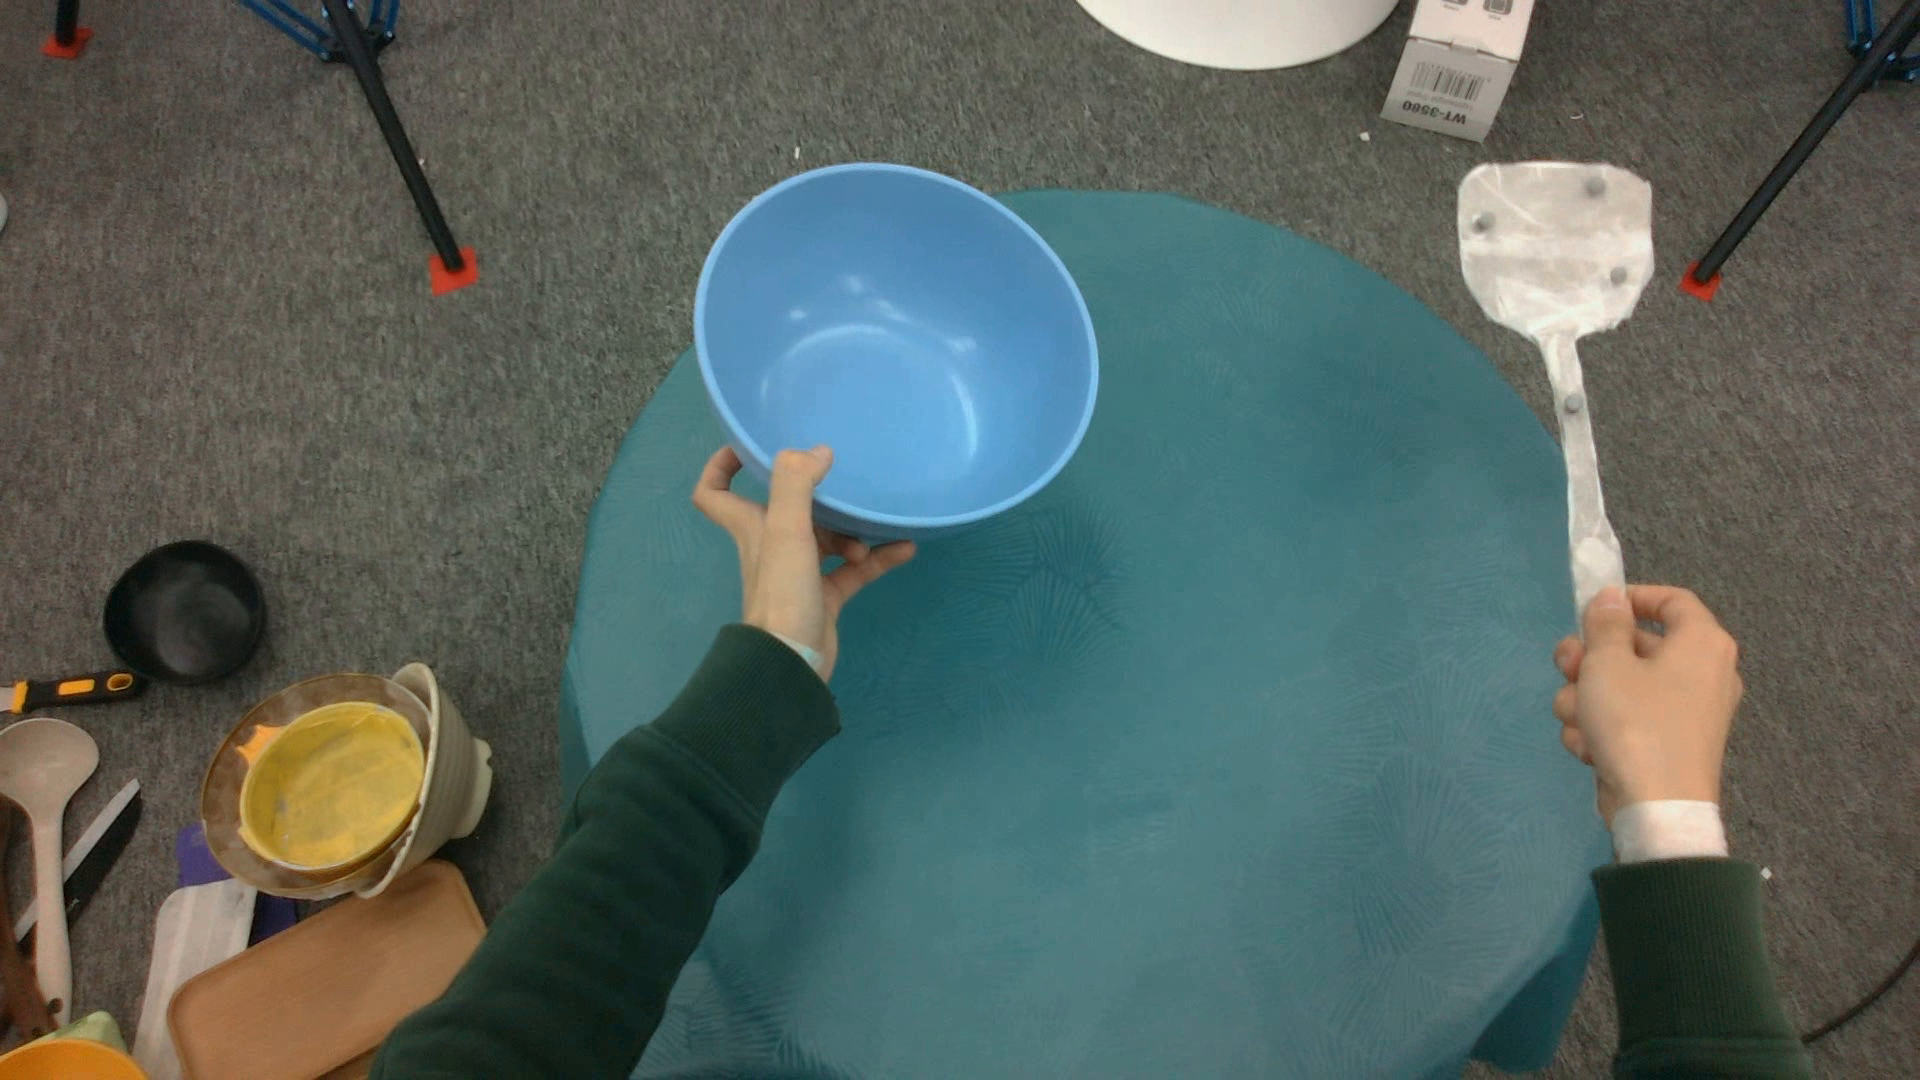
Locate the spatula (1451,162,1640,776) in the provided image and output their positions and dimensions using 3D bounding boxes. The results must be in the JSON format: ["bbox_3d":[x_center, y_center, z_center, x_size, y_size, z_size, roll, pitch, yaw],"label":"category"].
[{"bbox_3d":[0.288,-0.054,0.663,0.098,0.044,0.367,8,51,9],"label":"spatula"}]

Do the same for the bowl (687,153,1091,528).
[{"bbox_3d":[-0.042,-0.086,0.692,0.197,0.095,0.197,7,64,-14],"label":"bowl"}]
